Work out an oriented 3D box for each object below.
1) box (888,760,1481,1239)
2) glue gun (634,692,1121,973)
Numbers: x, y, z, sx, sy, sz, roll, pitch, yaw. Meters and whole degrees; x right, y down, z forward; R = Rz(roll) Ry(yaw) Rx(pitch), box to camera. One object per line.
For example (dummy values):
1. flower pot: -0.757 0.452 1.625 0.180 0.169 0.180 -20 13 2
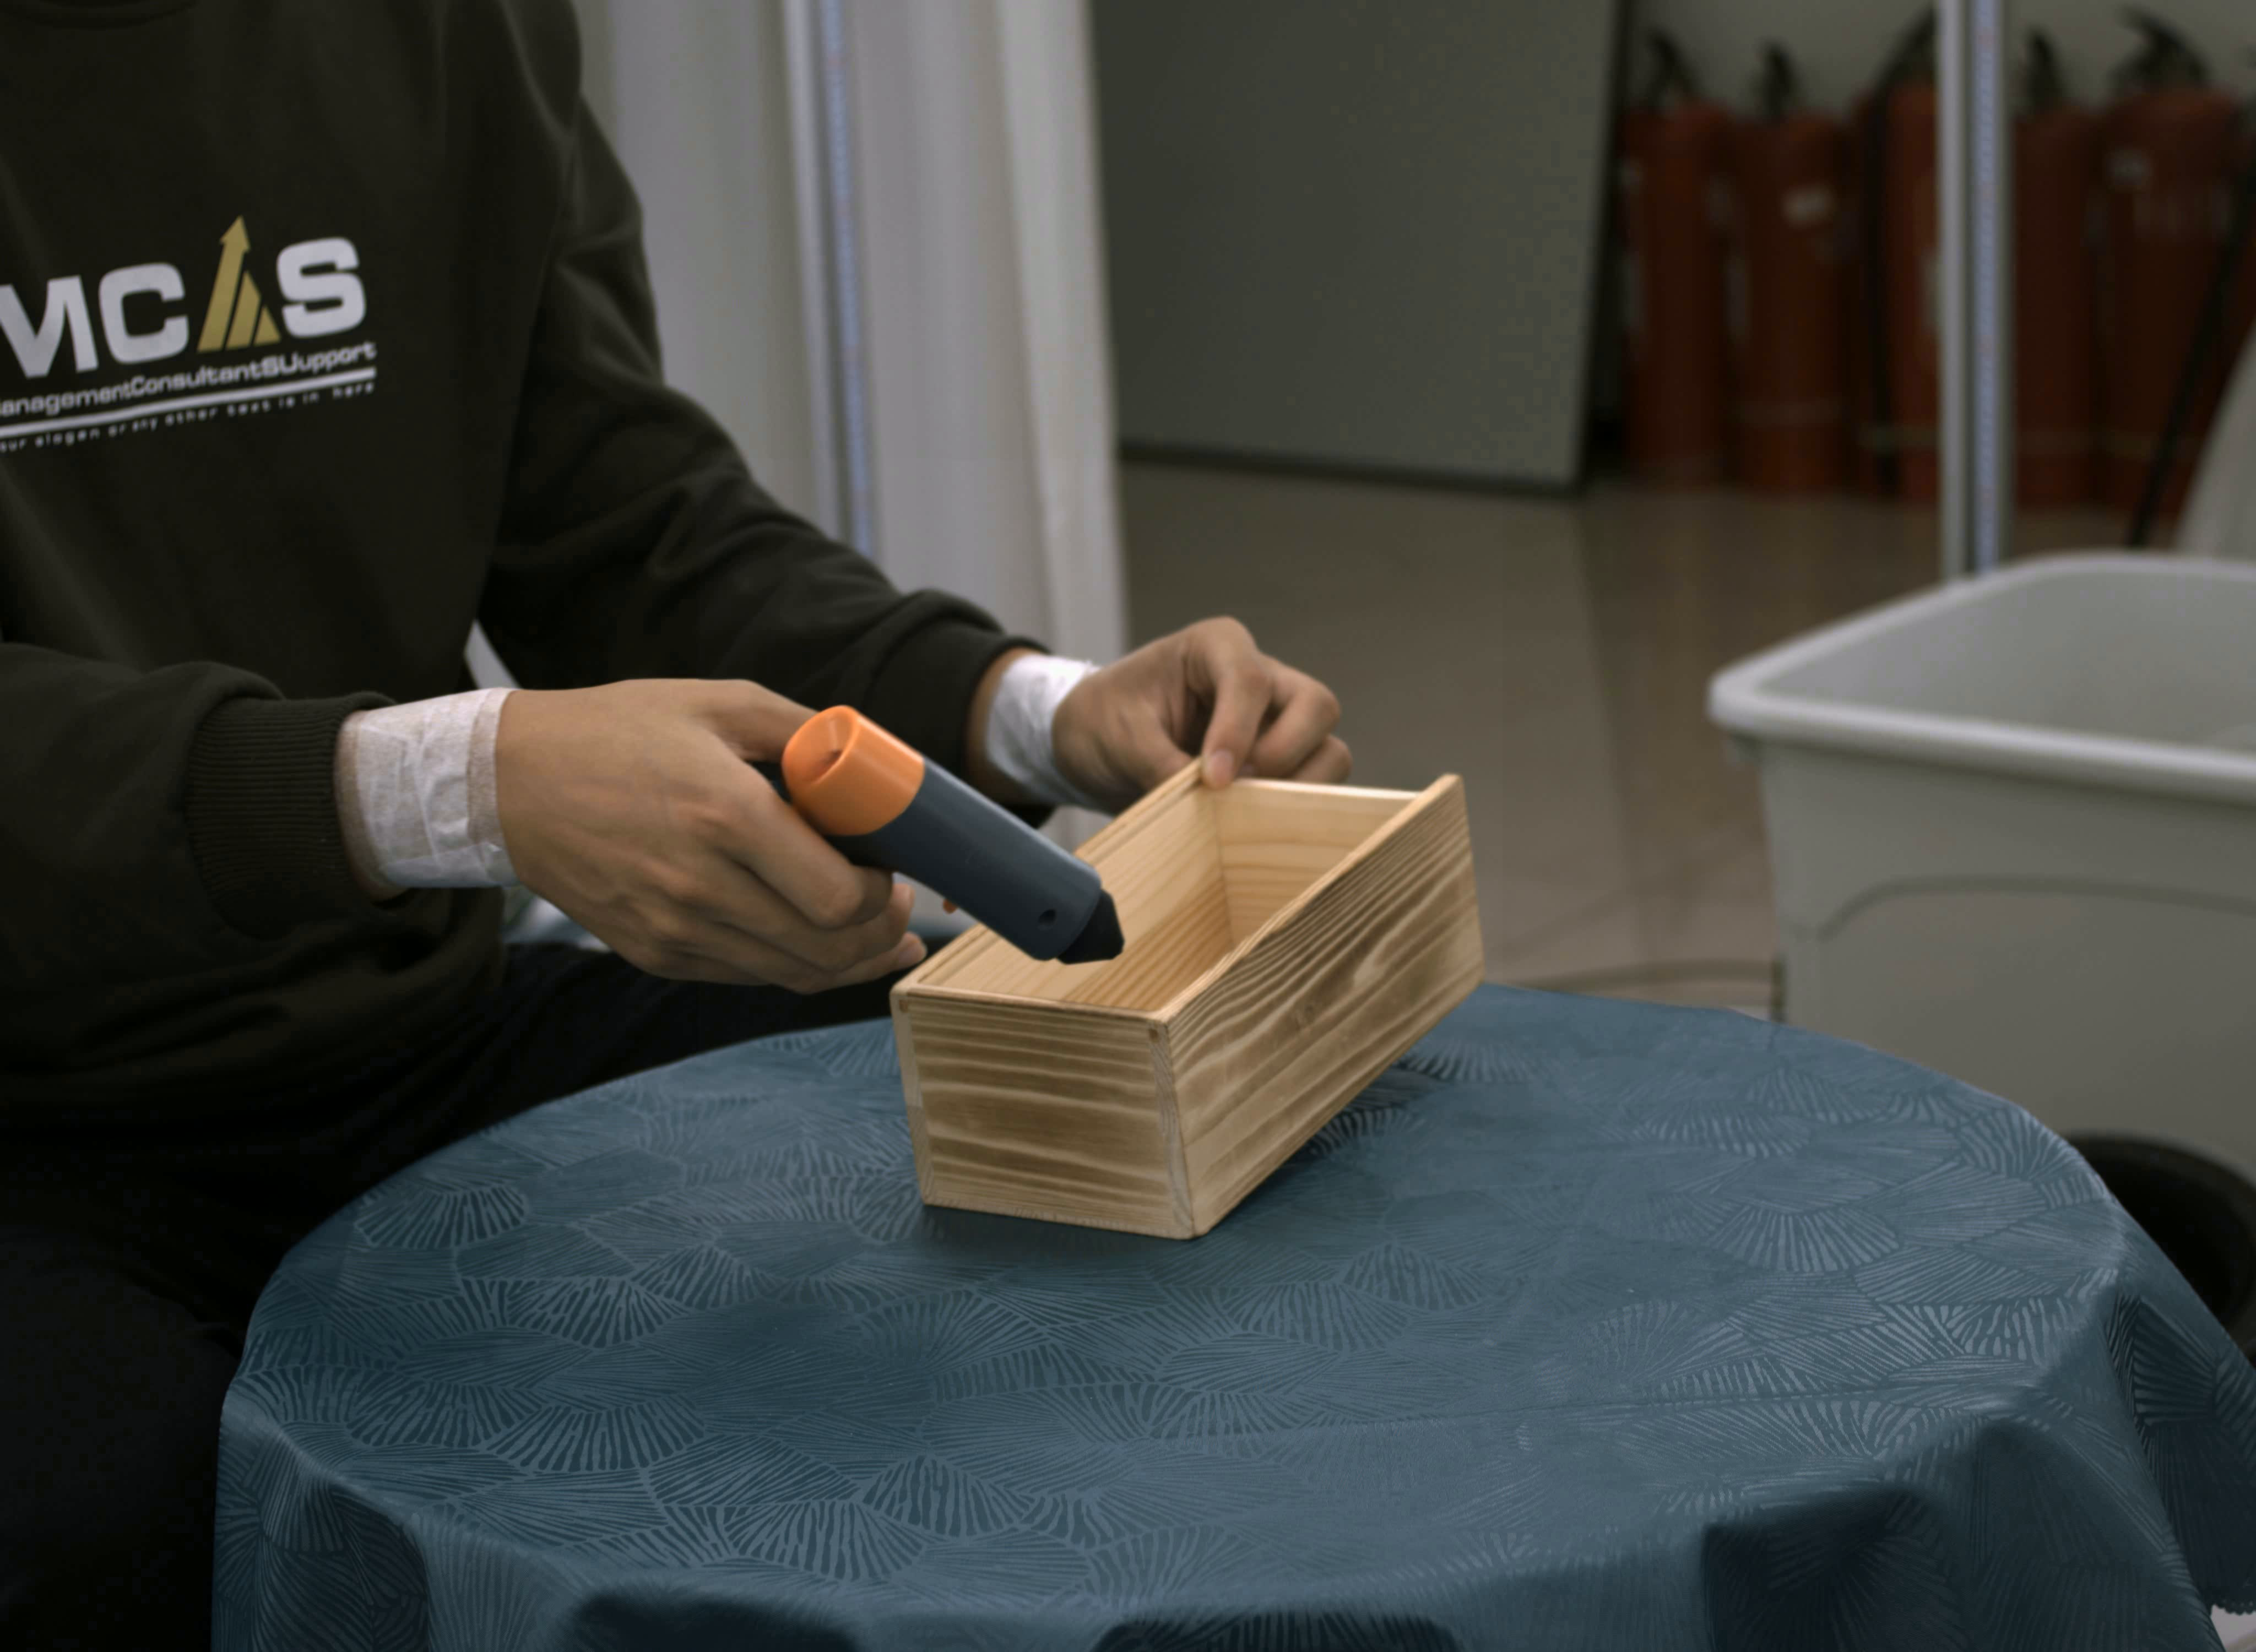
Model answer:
1. box: 0.023 0.054 1.817 0.108 0.081 0.209 3 24 31
2. glue gun: -0.079 0.011 1.698 0.141 0.117 0.041 -8 44 43
